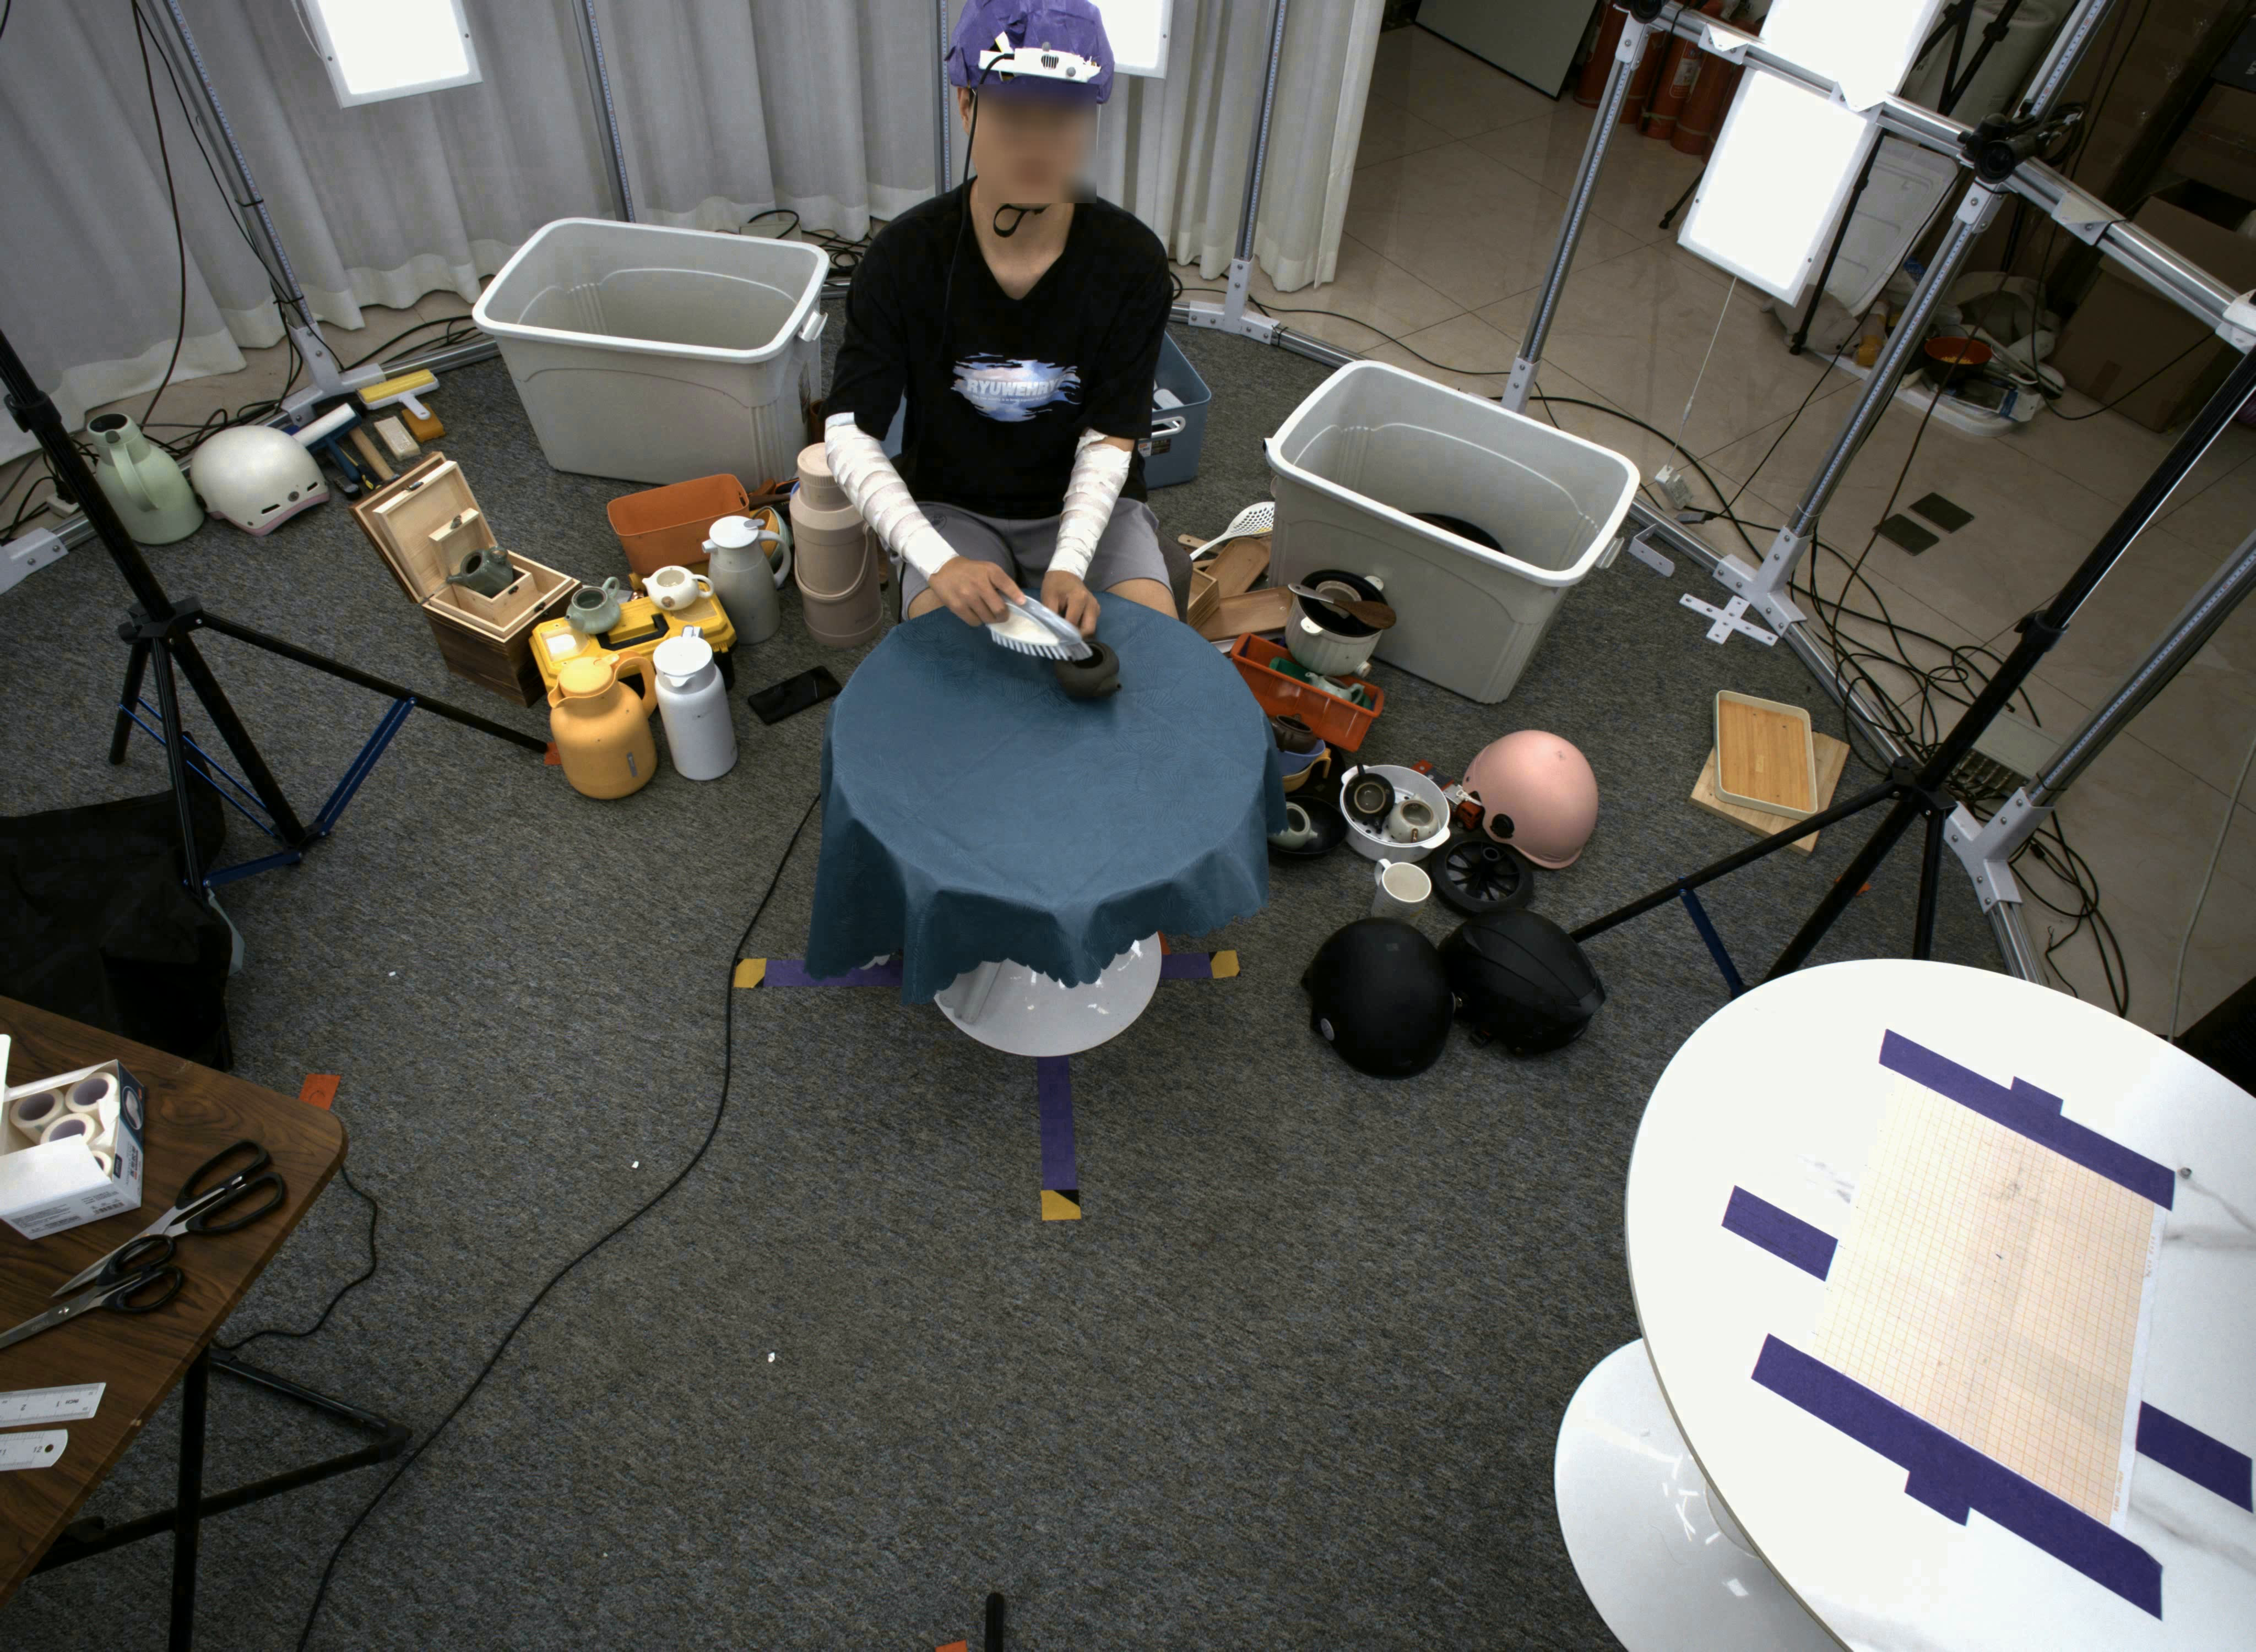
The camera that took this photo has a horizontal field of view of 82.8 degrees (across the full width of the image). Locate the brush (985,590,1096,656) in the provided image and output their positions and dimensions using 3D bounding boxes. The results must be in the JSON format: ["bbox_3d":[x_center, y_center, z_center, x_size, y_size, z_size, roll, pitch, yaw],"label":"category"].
[{"bbox_3d":[-0.127,-0.287,1.795,0.177,0.092,0.062,22,71,34],"label":"brush"}]

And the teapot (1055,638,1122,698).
[{"bbox_3d":[-0.059,-0.227,1.823,0.093,0.063,0.157,-29,59,-25],"label":"teapot"}]
